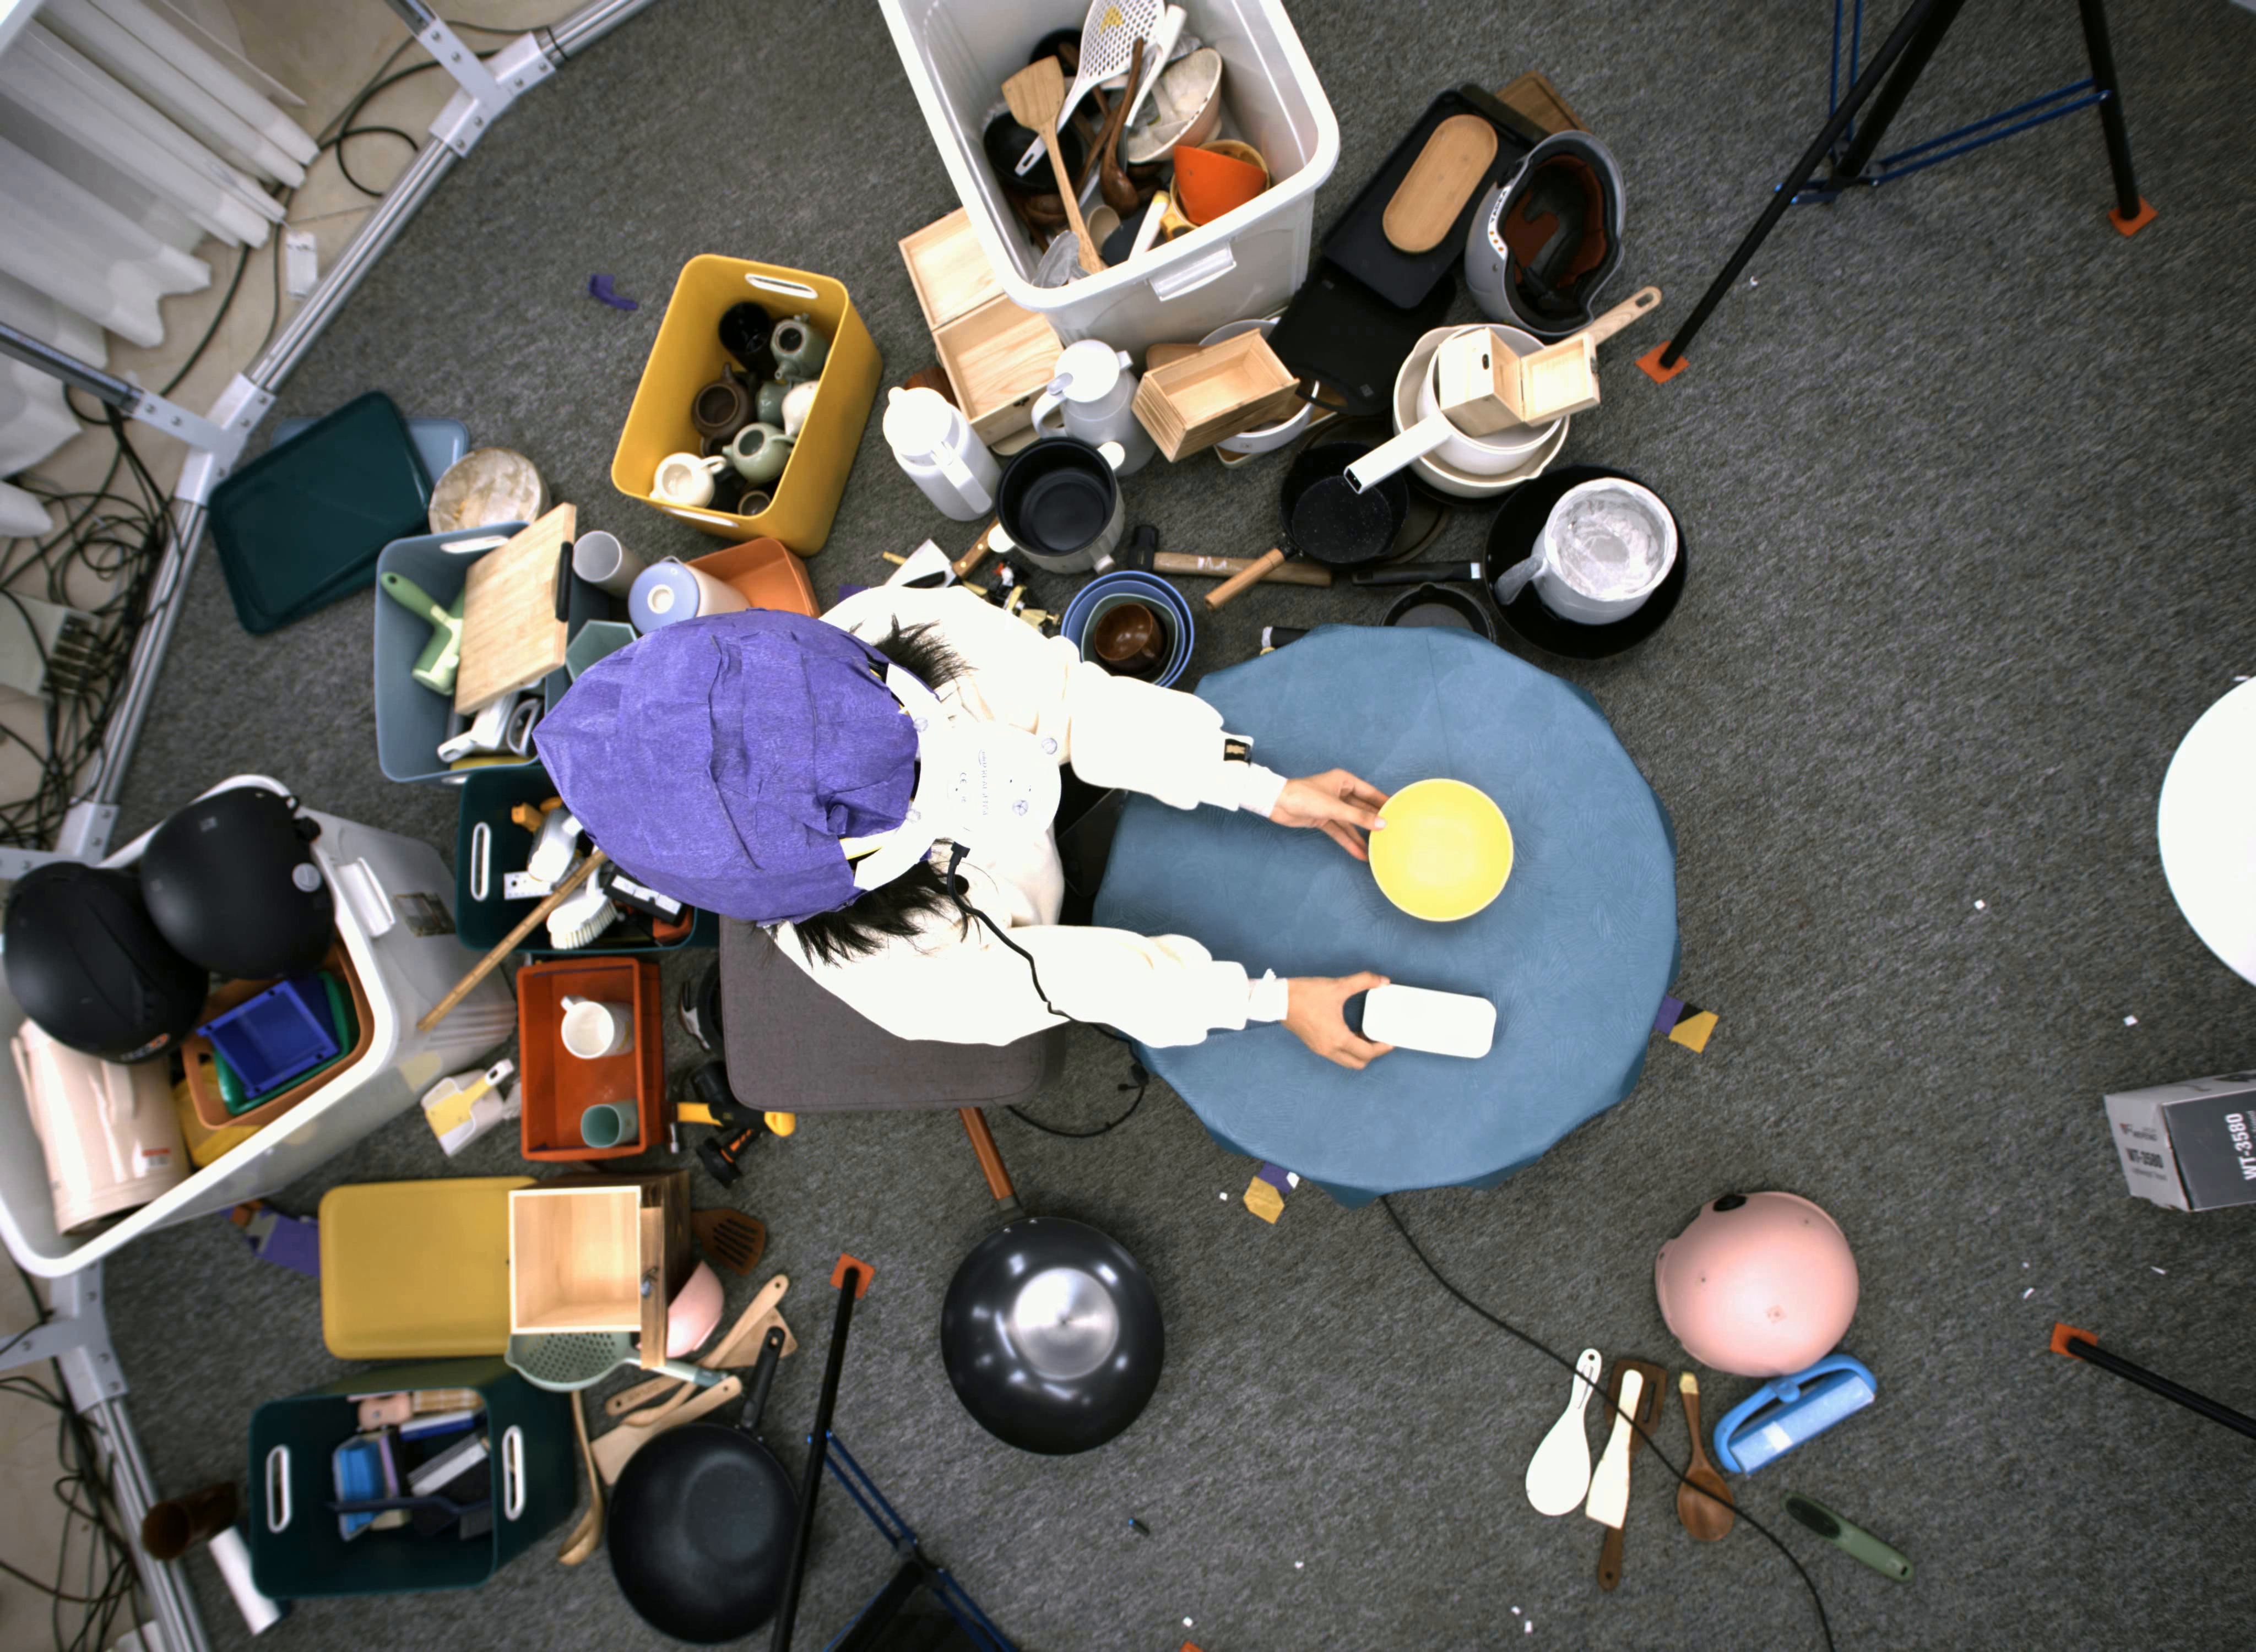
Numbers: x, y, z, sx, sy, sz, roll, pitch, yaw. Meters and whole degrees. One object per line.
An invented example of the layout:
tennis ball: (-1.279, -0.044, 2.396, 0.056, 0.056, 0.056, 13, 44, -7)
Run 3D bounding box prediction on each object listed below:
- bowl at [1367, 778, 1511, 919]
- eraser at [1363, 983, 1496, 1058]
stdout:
bowl: (0.319, 0.023, 1.424, 0.146, 0.060, 0.145, 0, 88, 8)
eraser: (0.311, 0.196, 1.424, 0.131, 0.034, 0.064, 8, 101, 9)
